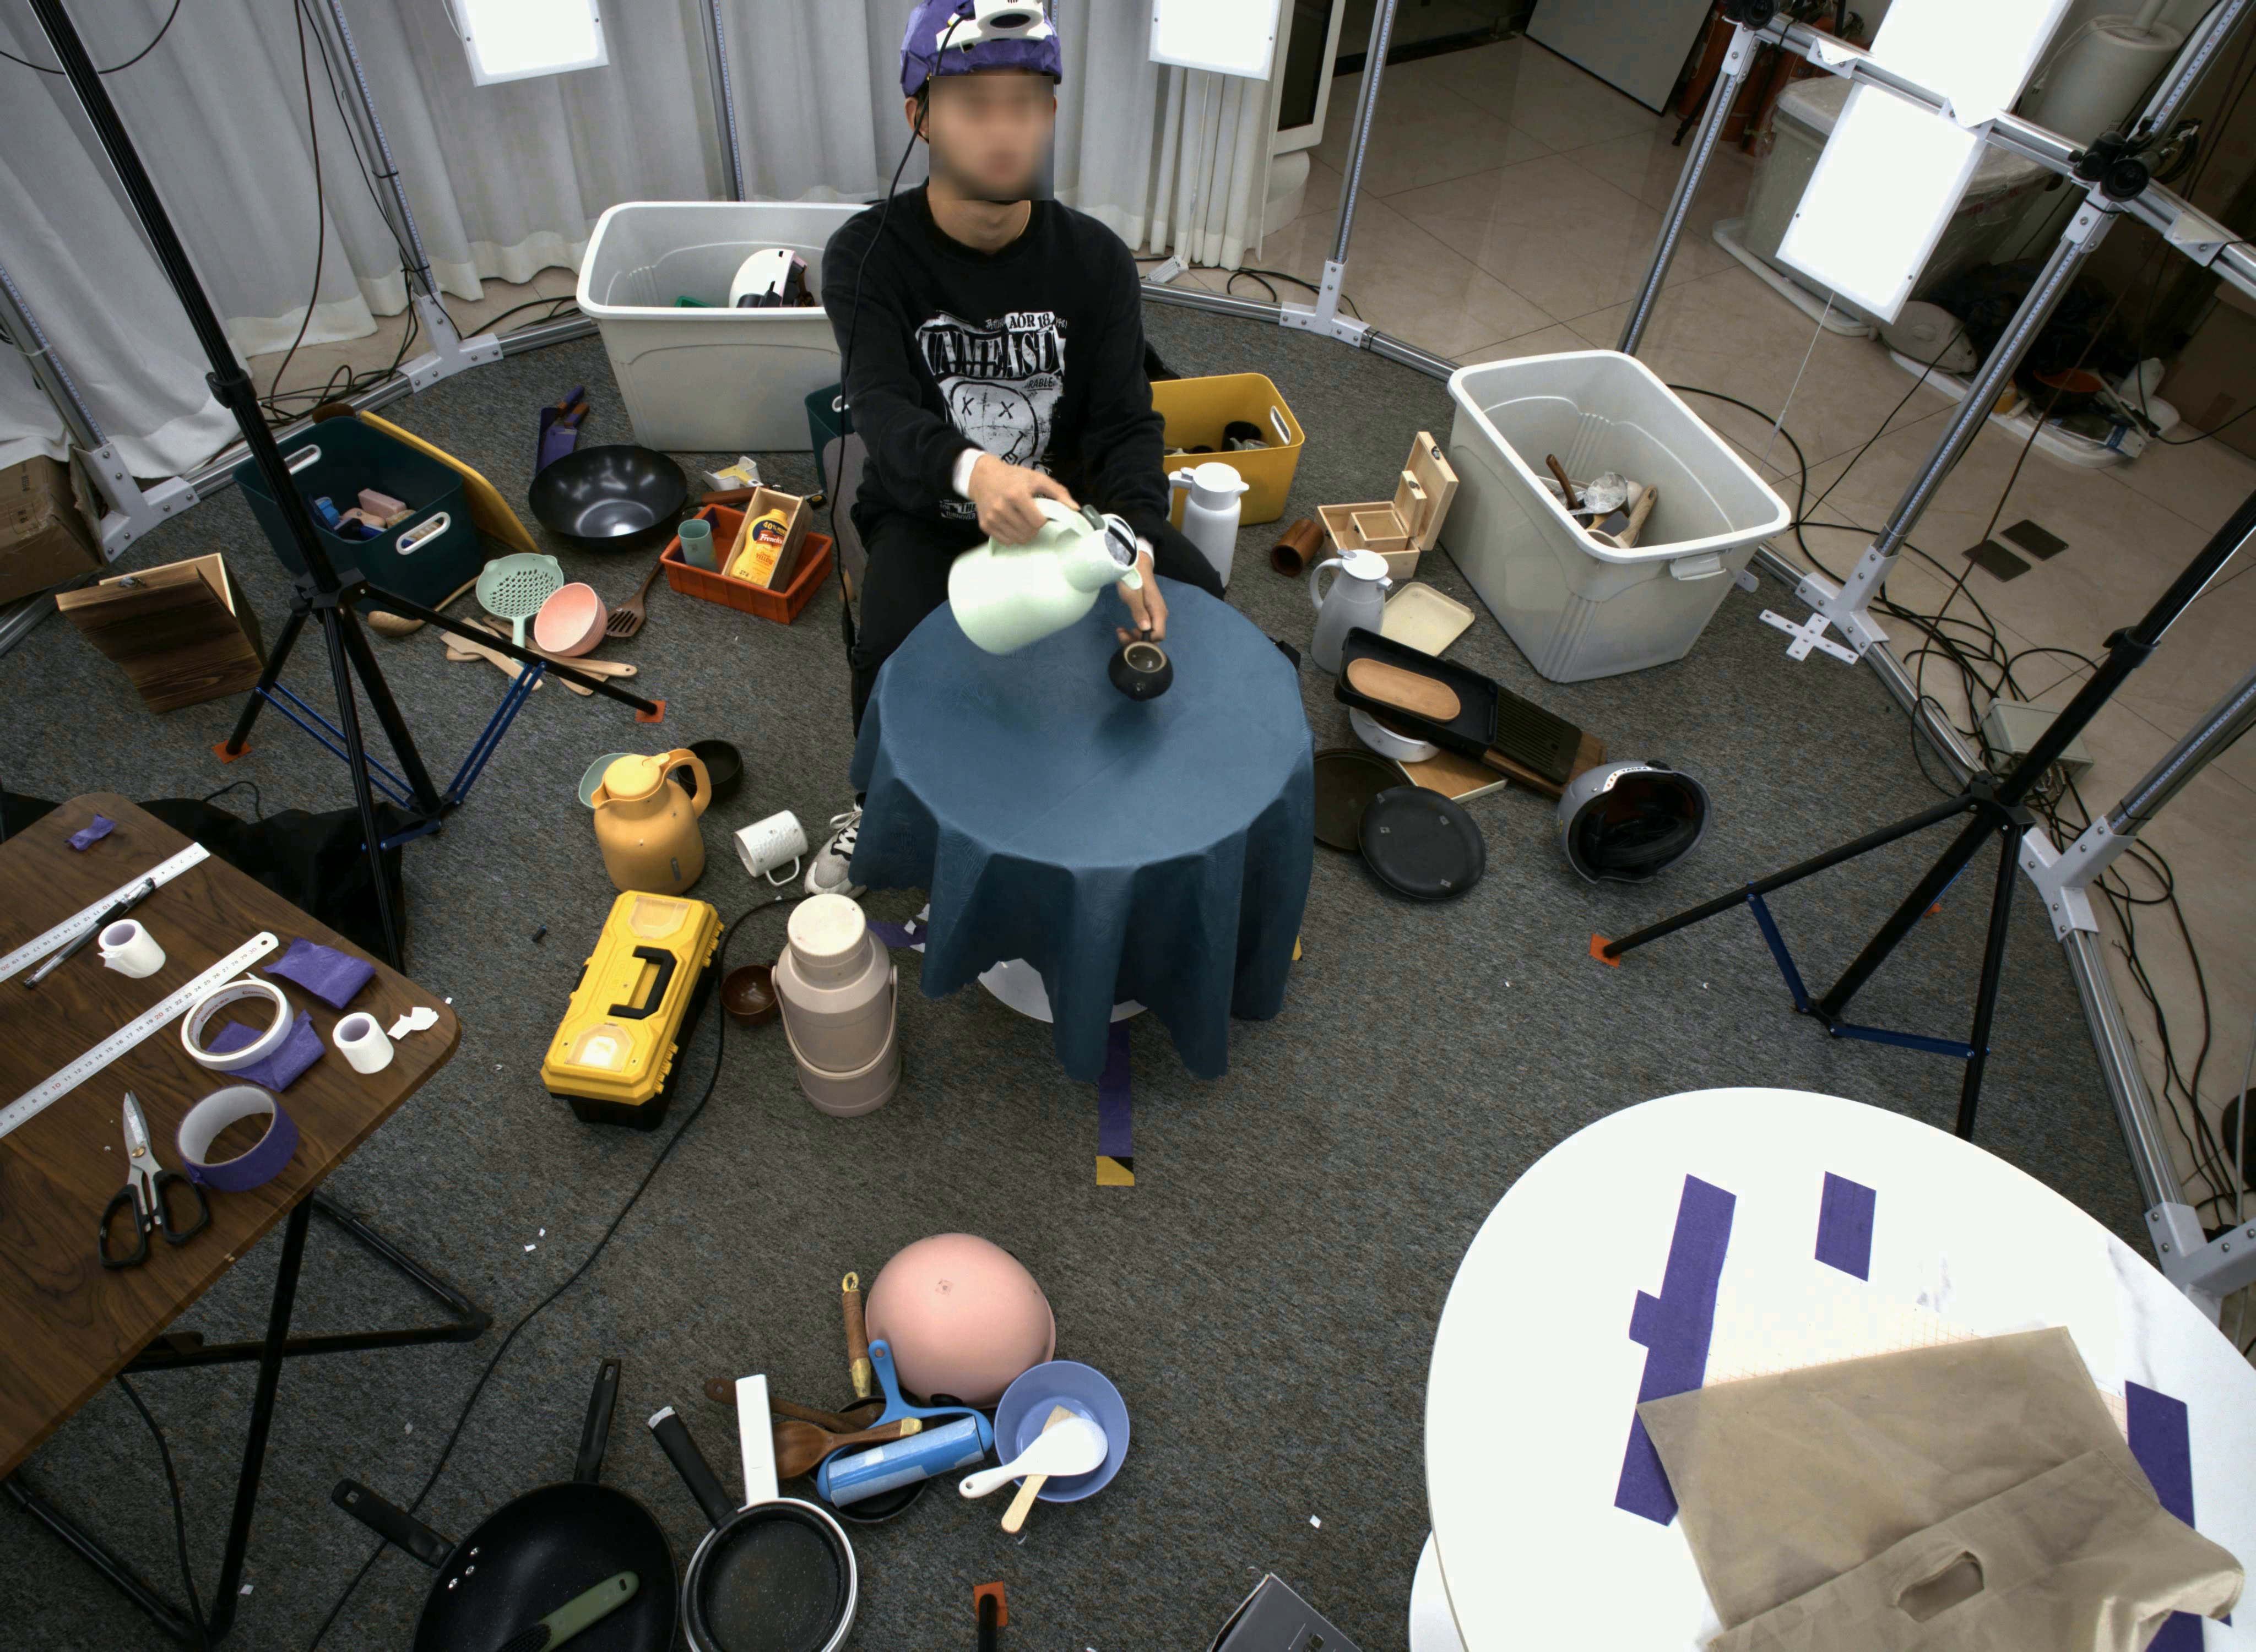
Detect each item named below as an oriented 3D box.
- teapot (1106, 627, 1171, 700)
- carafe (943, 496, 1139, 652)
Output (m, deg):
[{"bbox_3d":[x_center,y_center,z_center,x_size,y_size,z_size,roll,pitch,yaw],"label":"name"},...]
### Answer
[{"bbox_3d":[0.015,-0.217,1.760,0.091,0.052,0.136,11,51,-5],"label":"teapot"},{"bbox_3d":[-0.117,-0.334,1.661,0.256,0.183,0.147,-17,47,40],"label":"carafe"}]
